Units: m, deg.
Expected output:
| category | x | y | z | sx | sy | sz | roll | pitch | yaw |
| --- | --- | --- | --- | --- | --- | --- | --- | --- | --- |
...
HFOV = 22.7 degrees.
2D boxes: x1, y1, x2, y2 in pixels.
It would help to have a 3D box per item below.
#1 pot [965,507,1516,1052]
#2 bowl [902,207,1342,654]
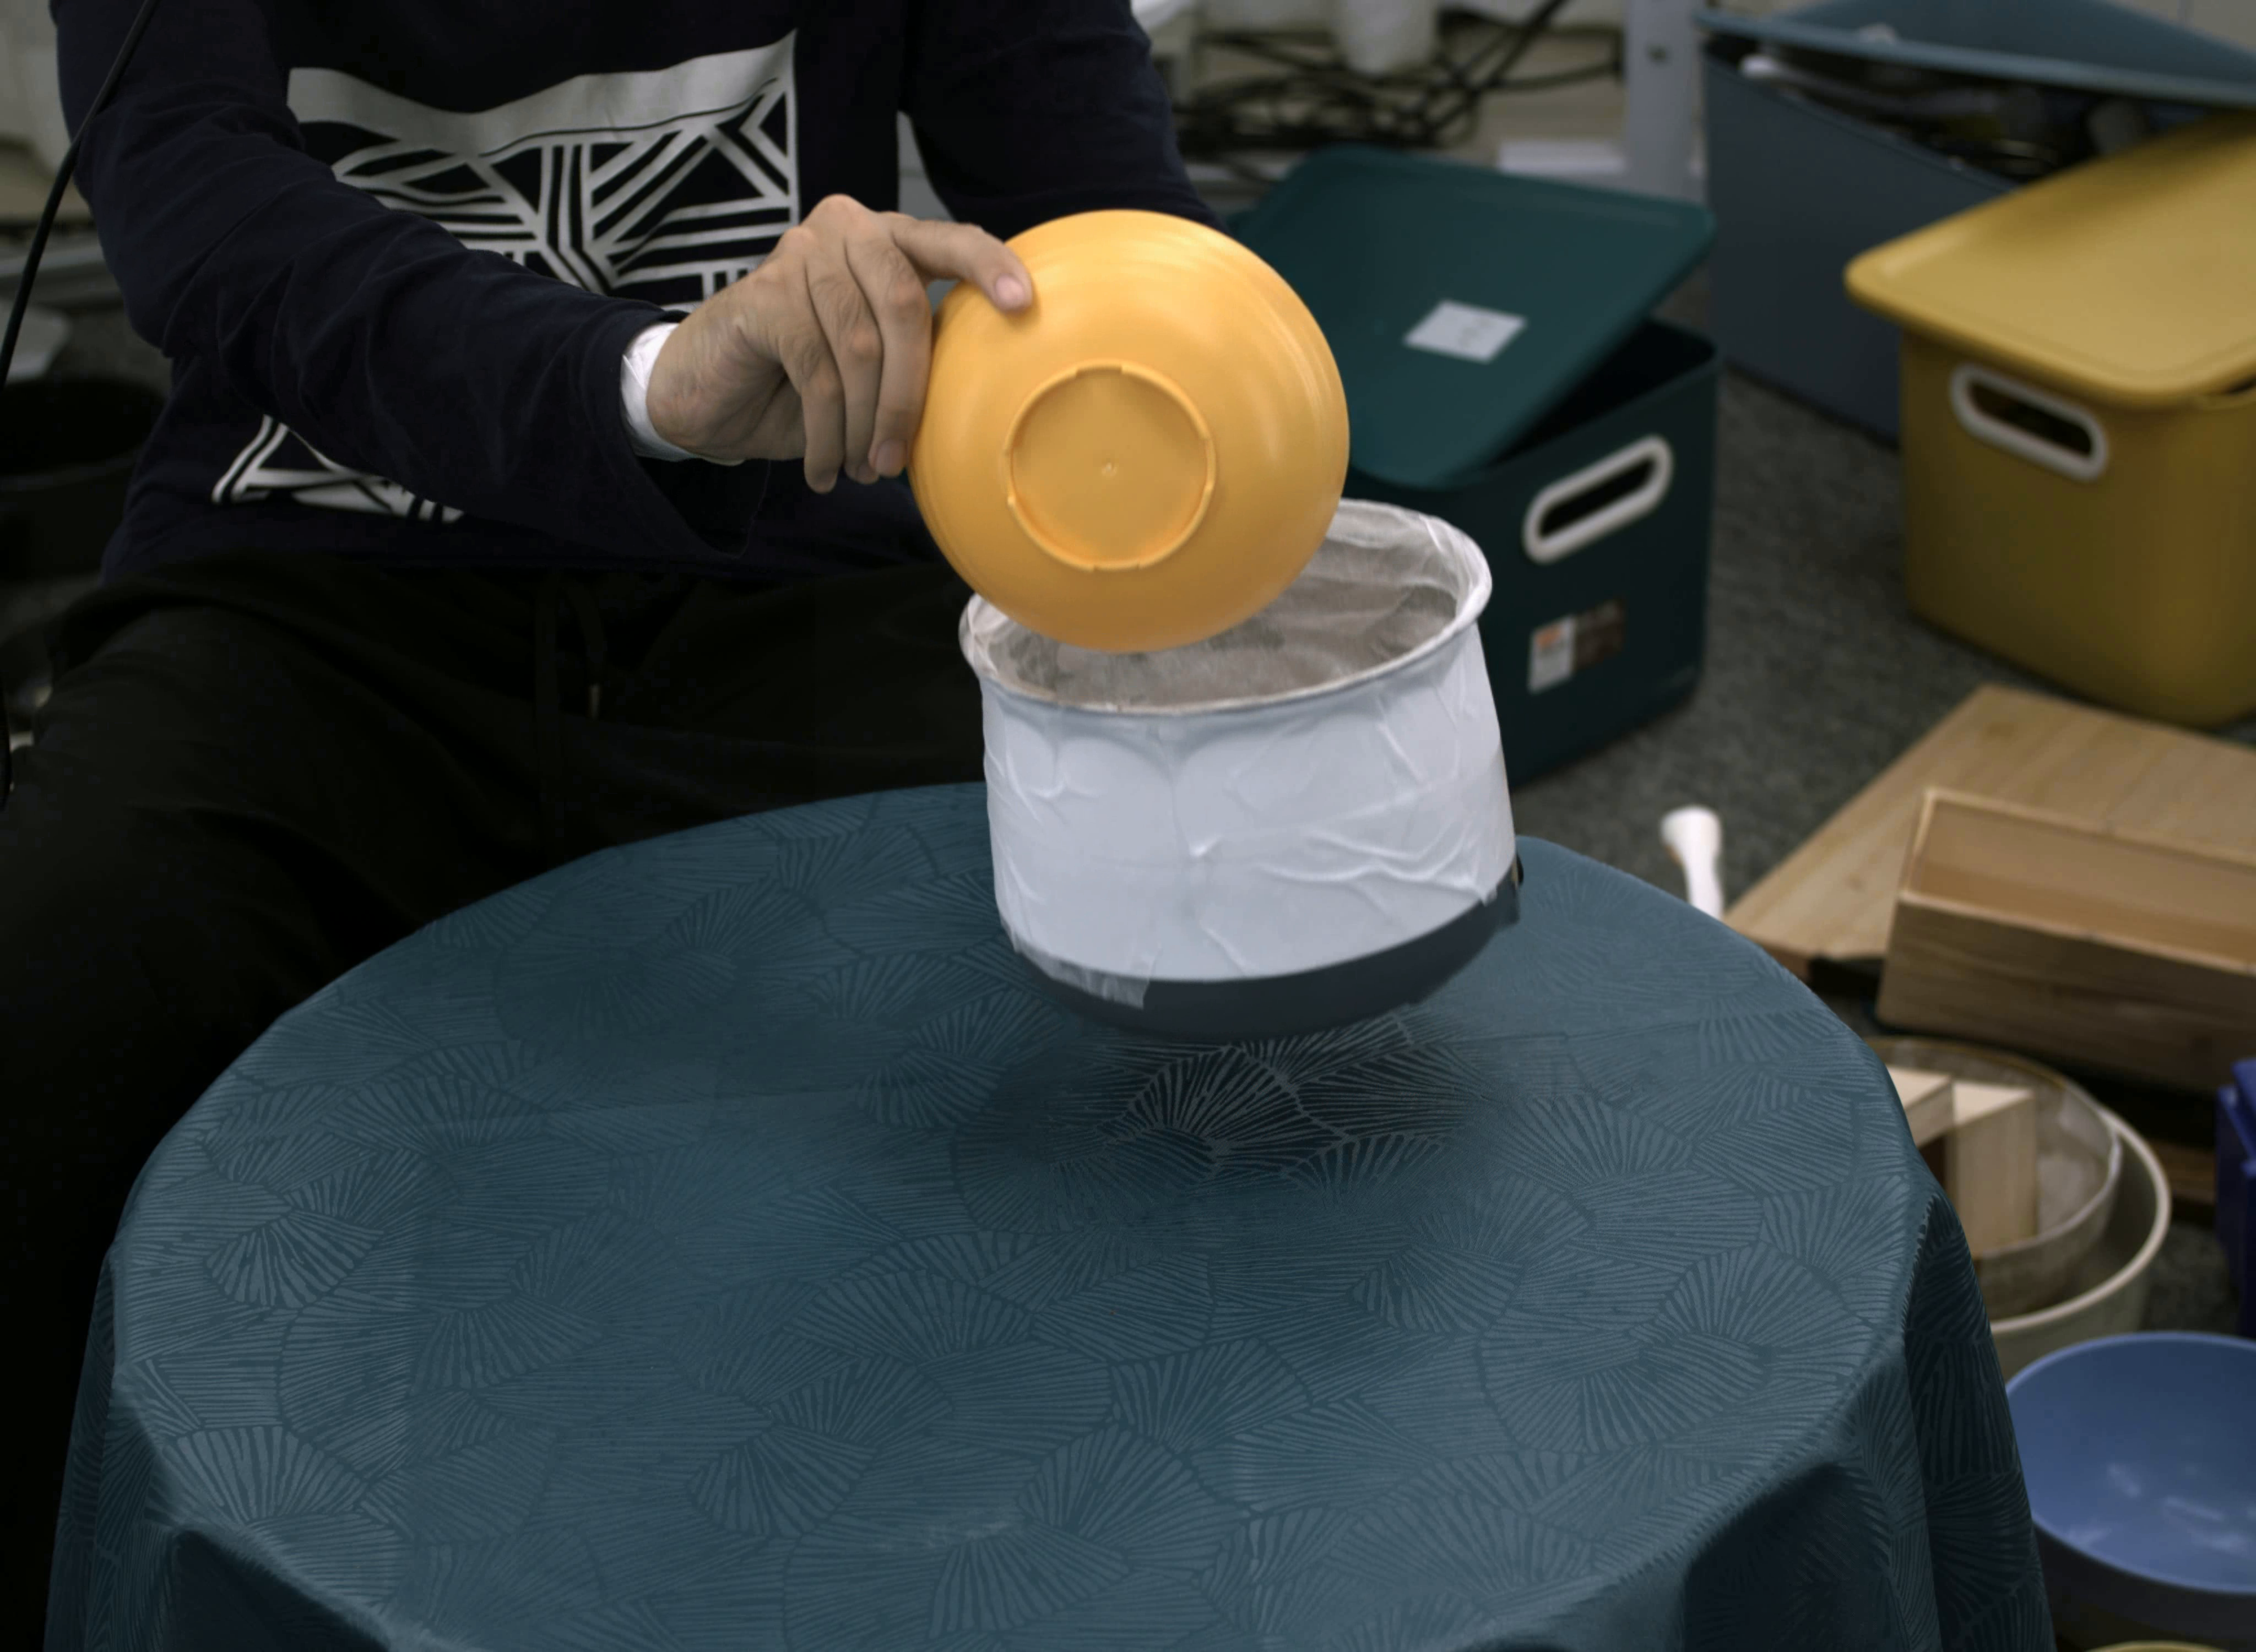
| category | x | y | z | sx | sy | sz | roll | pitch | yaw |
| --- | --- | --- | --- | --- | --- | --- | --- | --- | --- |
| pot | 0.035 | -0.026 | 1.900 | 0.178 | 0.135 | 0.236 | -7 | 24 | -7 |
| bowl | -0.006 | -0.119 | 1.779 | 0.144 | 0.145 | 0.060 | 1 | 13 | 6 |
